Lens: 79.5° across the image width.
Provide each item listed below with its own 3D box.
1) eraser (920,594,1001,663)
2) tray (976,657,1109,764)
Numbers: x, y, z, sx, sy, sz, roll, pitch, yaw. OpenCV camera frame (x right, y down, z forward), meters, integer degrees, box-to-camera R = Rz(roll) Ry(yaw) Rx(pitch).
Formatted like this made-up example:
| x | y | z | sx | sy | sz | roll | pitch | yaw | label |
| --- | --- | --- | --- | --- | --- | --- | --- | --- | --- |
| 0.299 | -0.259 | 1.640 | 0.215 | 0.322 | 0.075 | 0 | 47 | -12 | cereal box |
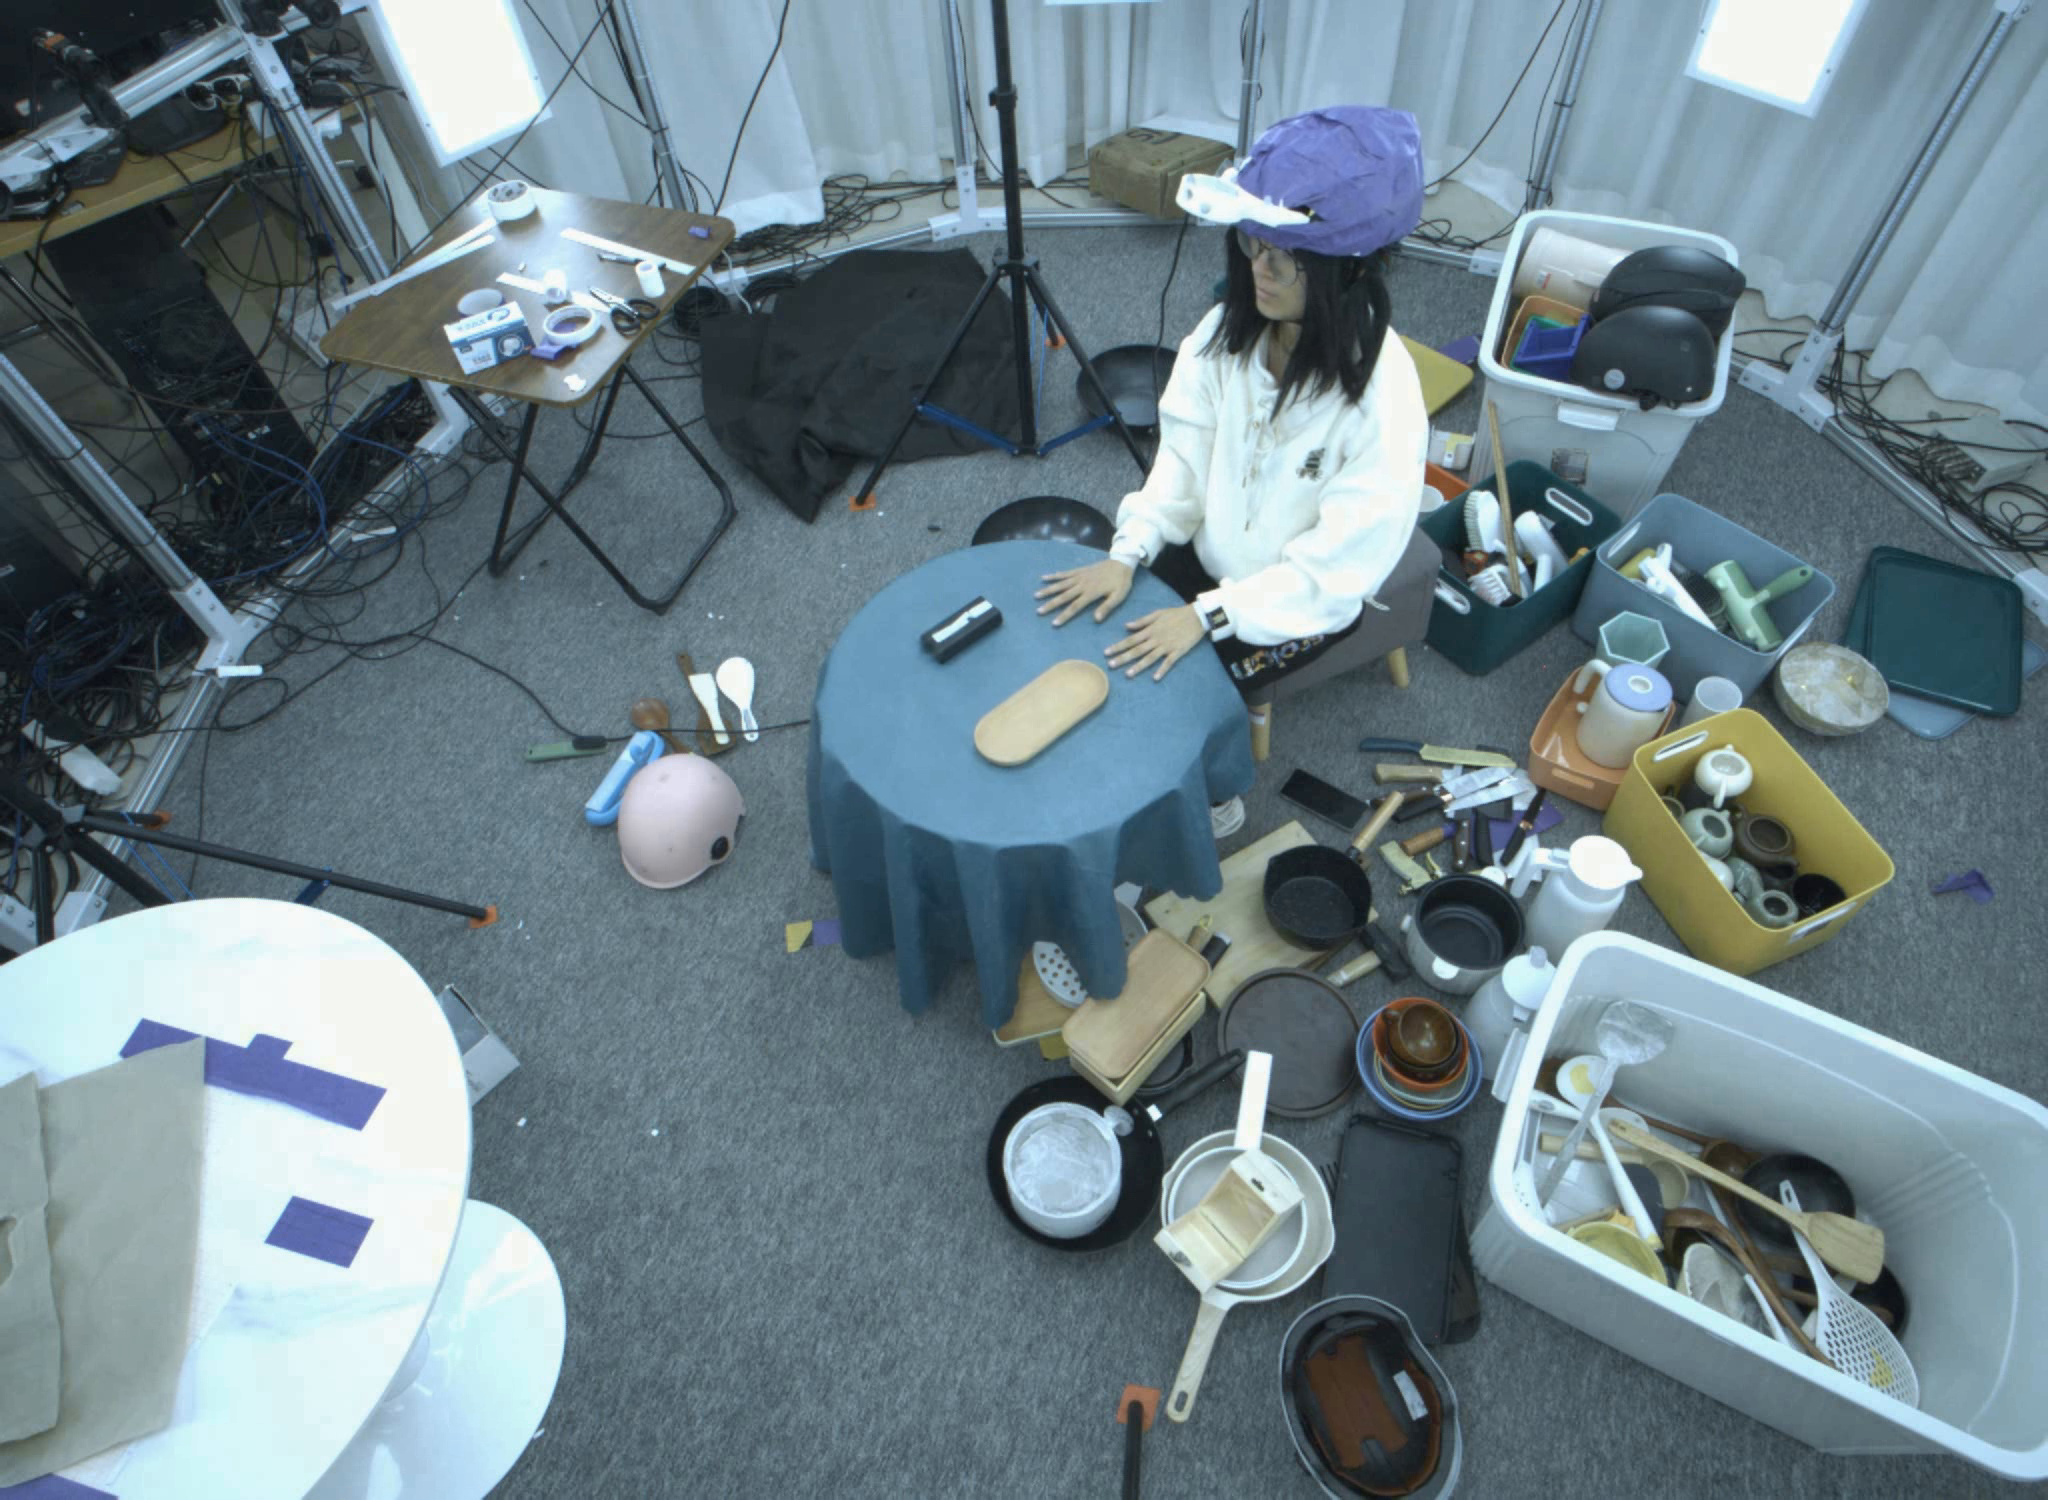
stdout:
| x | y | z | sx | sy | sz | roll | pitch | yaw | label |
| --- | --- | --- | --- | --- | --- | --- | --- | --- | --- |
| -0.099 | -0.189 | 1.907 | 0.126 | 0.031 | 0.053 | -38 | 67 | -21 | eraser |
| 0.029 | -0.060 | 1.820 | 0.233 | 0.020 | 0.100 | -38 | 62 | -24 | tray |
